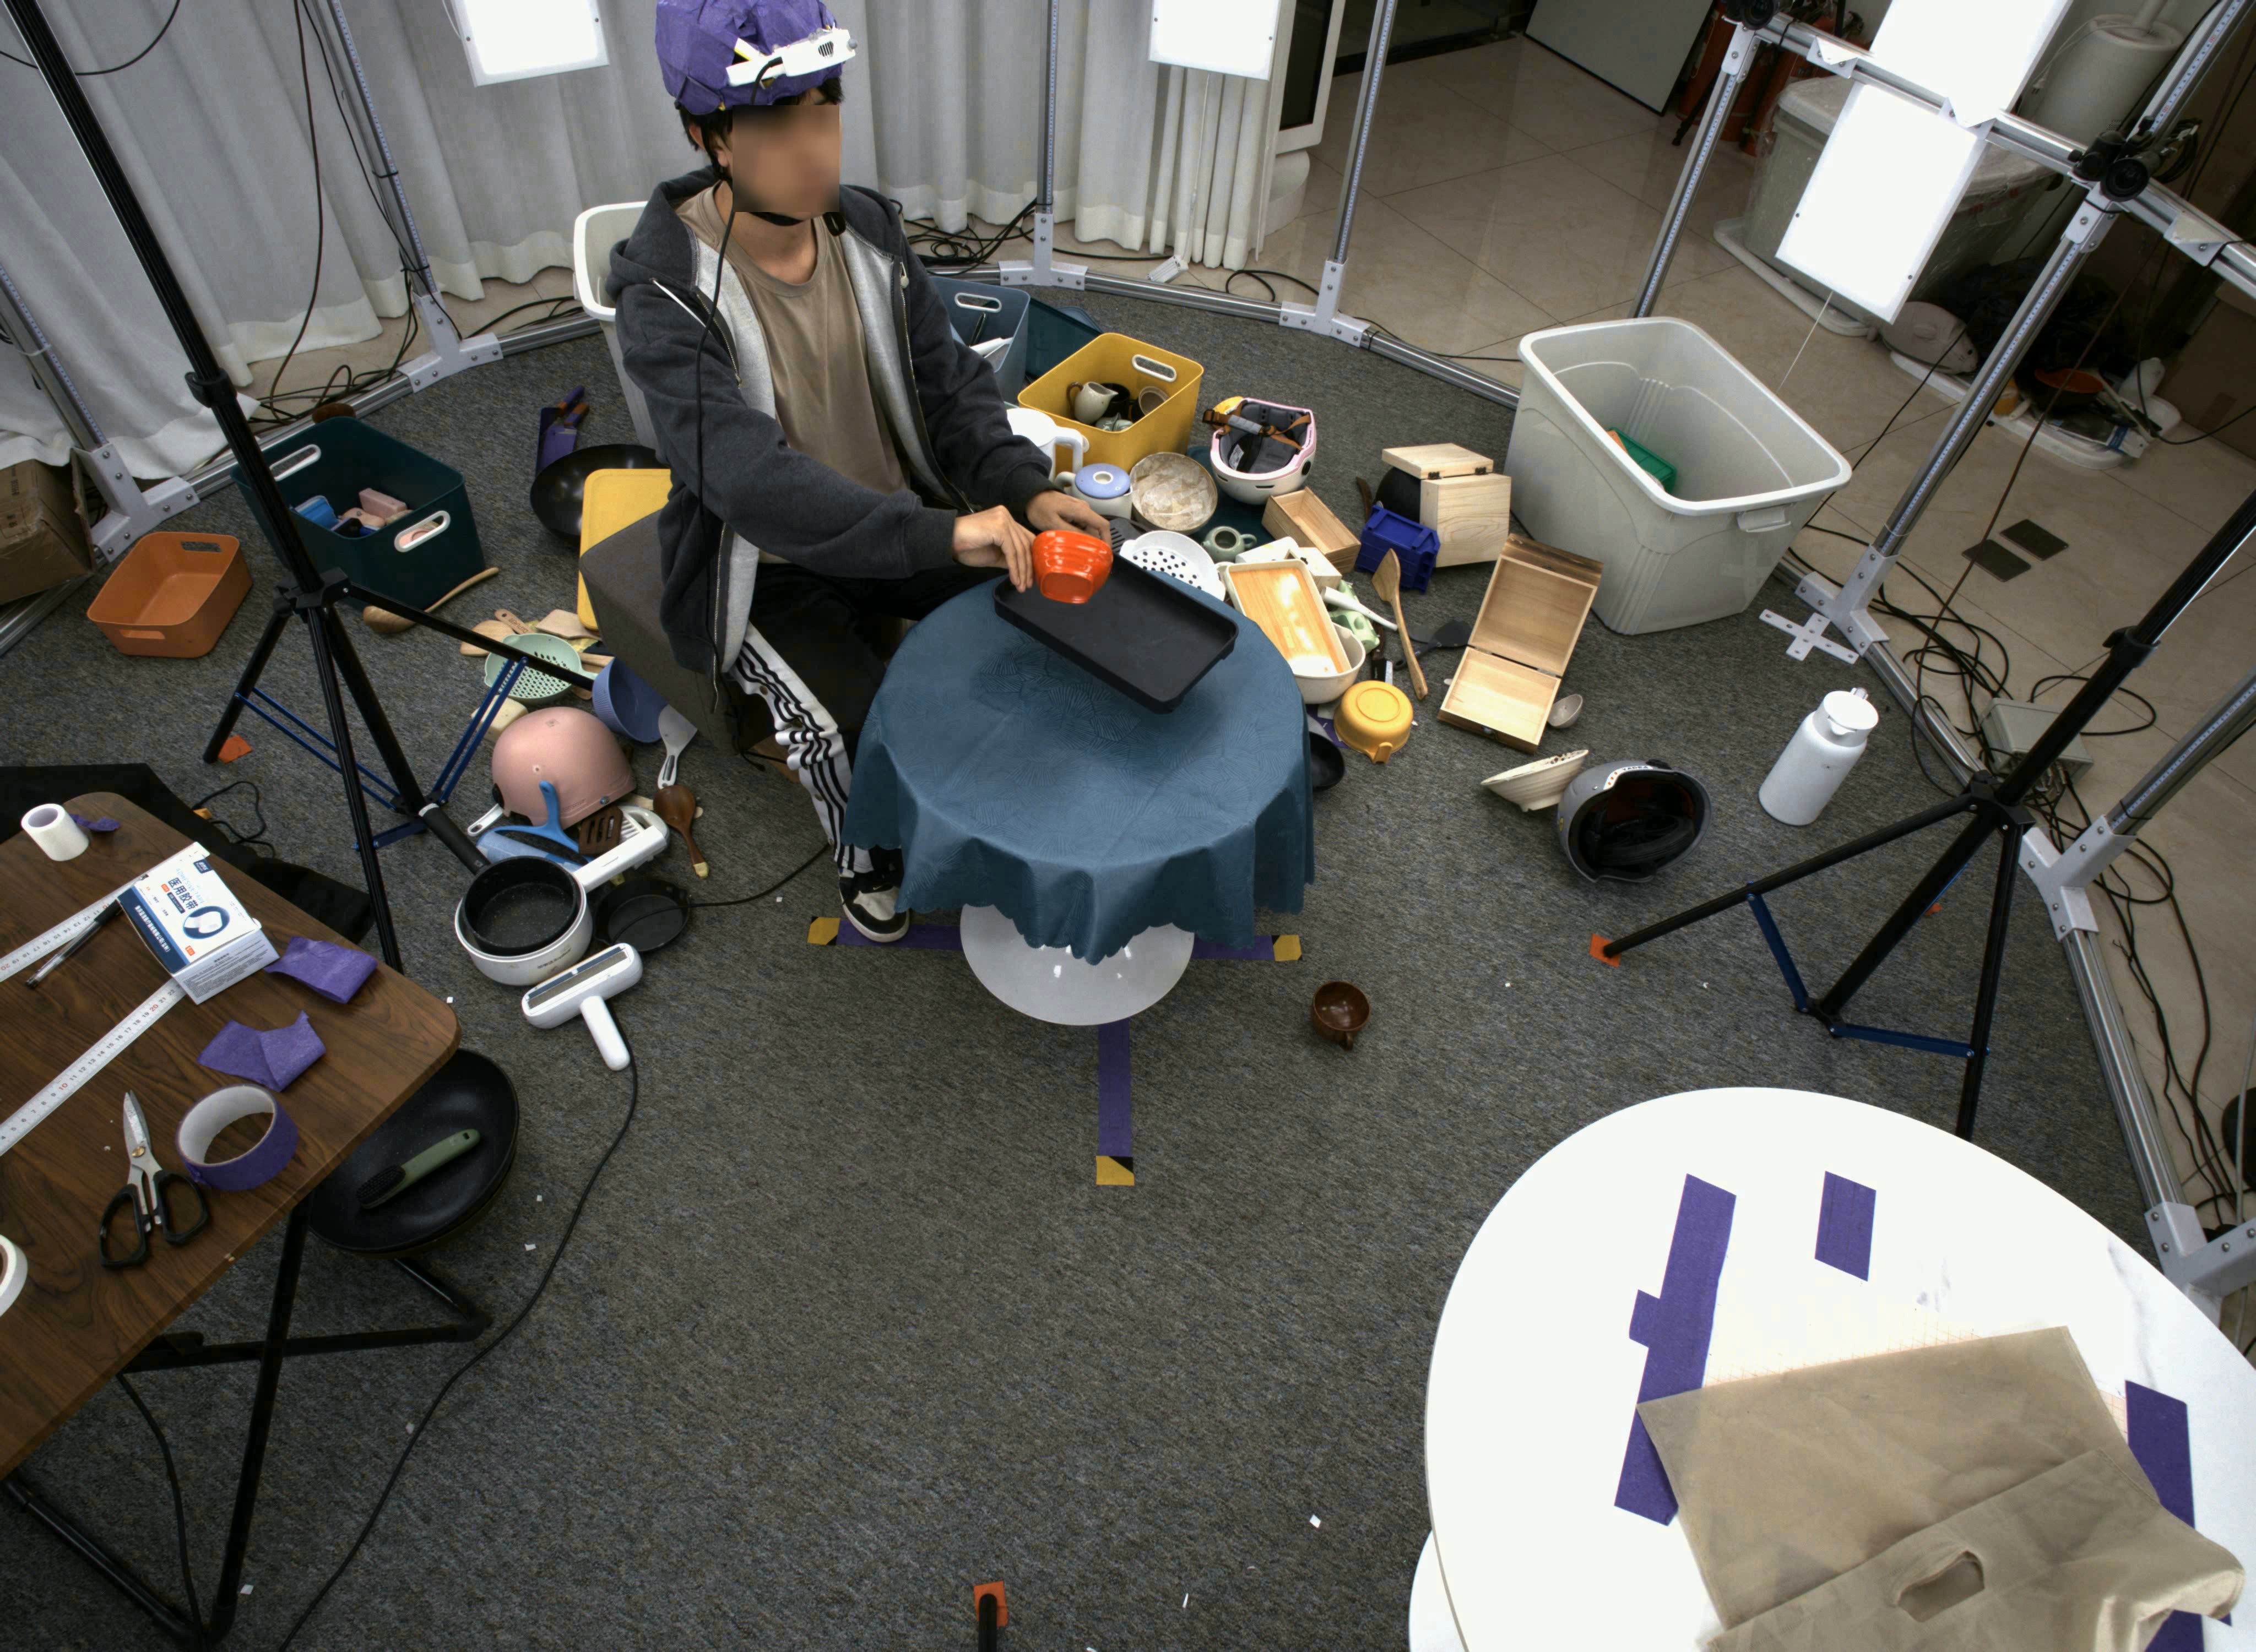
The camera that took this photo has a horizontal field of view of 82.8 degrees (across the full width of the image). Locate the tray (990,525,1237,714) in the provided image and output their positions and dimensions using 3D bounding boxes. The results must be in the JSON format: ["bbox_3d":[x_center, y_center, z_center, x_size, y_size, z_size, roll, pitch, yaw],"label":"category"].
[{"bbox_3d":[-0.021,-0.293,1.799,0.321,0.036,0.186,34,59,19],"label":"tray"}]

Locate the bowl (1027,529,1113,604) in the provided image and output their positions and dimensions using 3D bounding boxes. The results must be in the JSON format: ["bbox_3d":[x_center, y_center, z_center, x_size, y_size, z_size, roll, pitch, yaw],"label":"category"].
[{"bbox_3d":[-0.077,-0.328,1.658,0.119,0.117,0.052,7,66,1],"label":"bowl"}]
